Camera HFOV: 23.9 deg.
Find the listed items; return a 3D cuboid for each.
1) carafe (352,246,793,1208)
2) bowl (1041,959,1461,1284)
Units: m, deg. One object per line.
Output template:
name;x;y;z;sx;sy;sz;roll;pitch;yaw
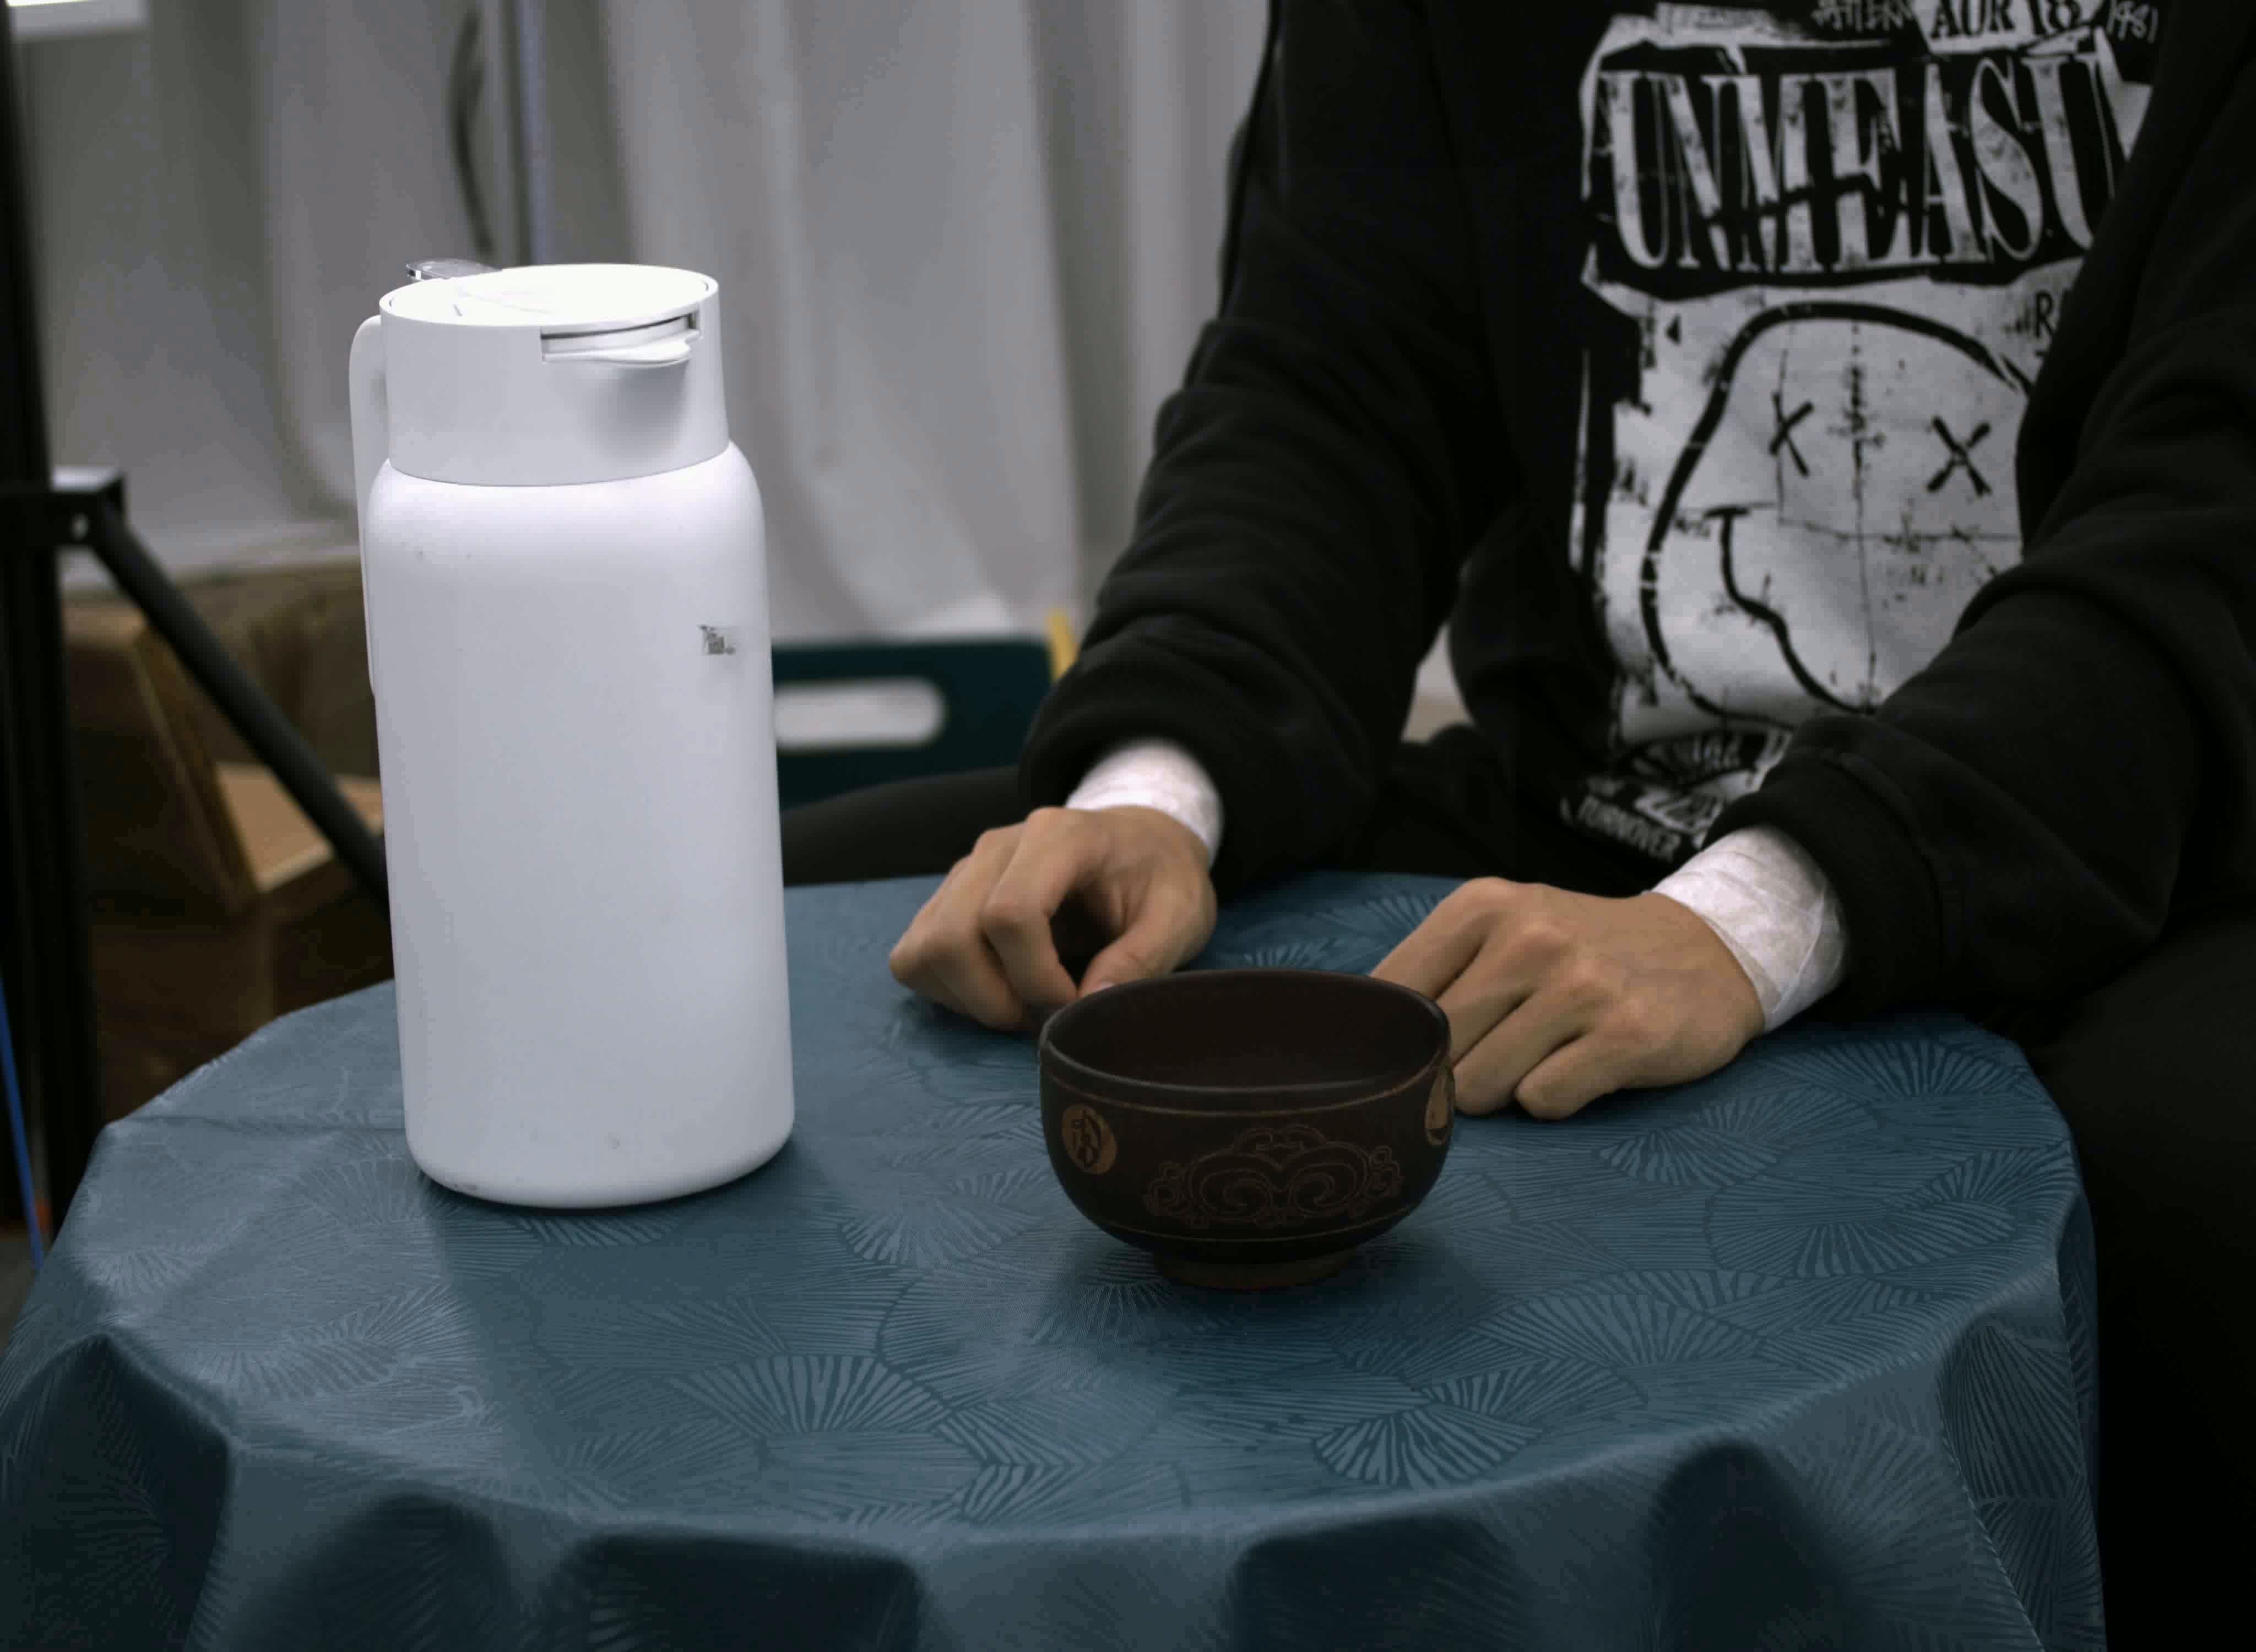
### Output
carafe;-0.173;-0.032;1.591;0.121;0.269;0.177;-15;19;-33
bowl;0.035;0.087;1.488;0.117;0.070;0.118;-3;15;-1
